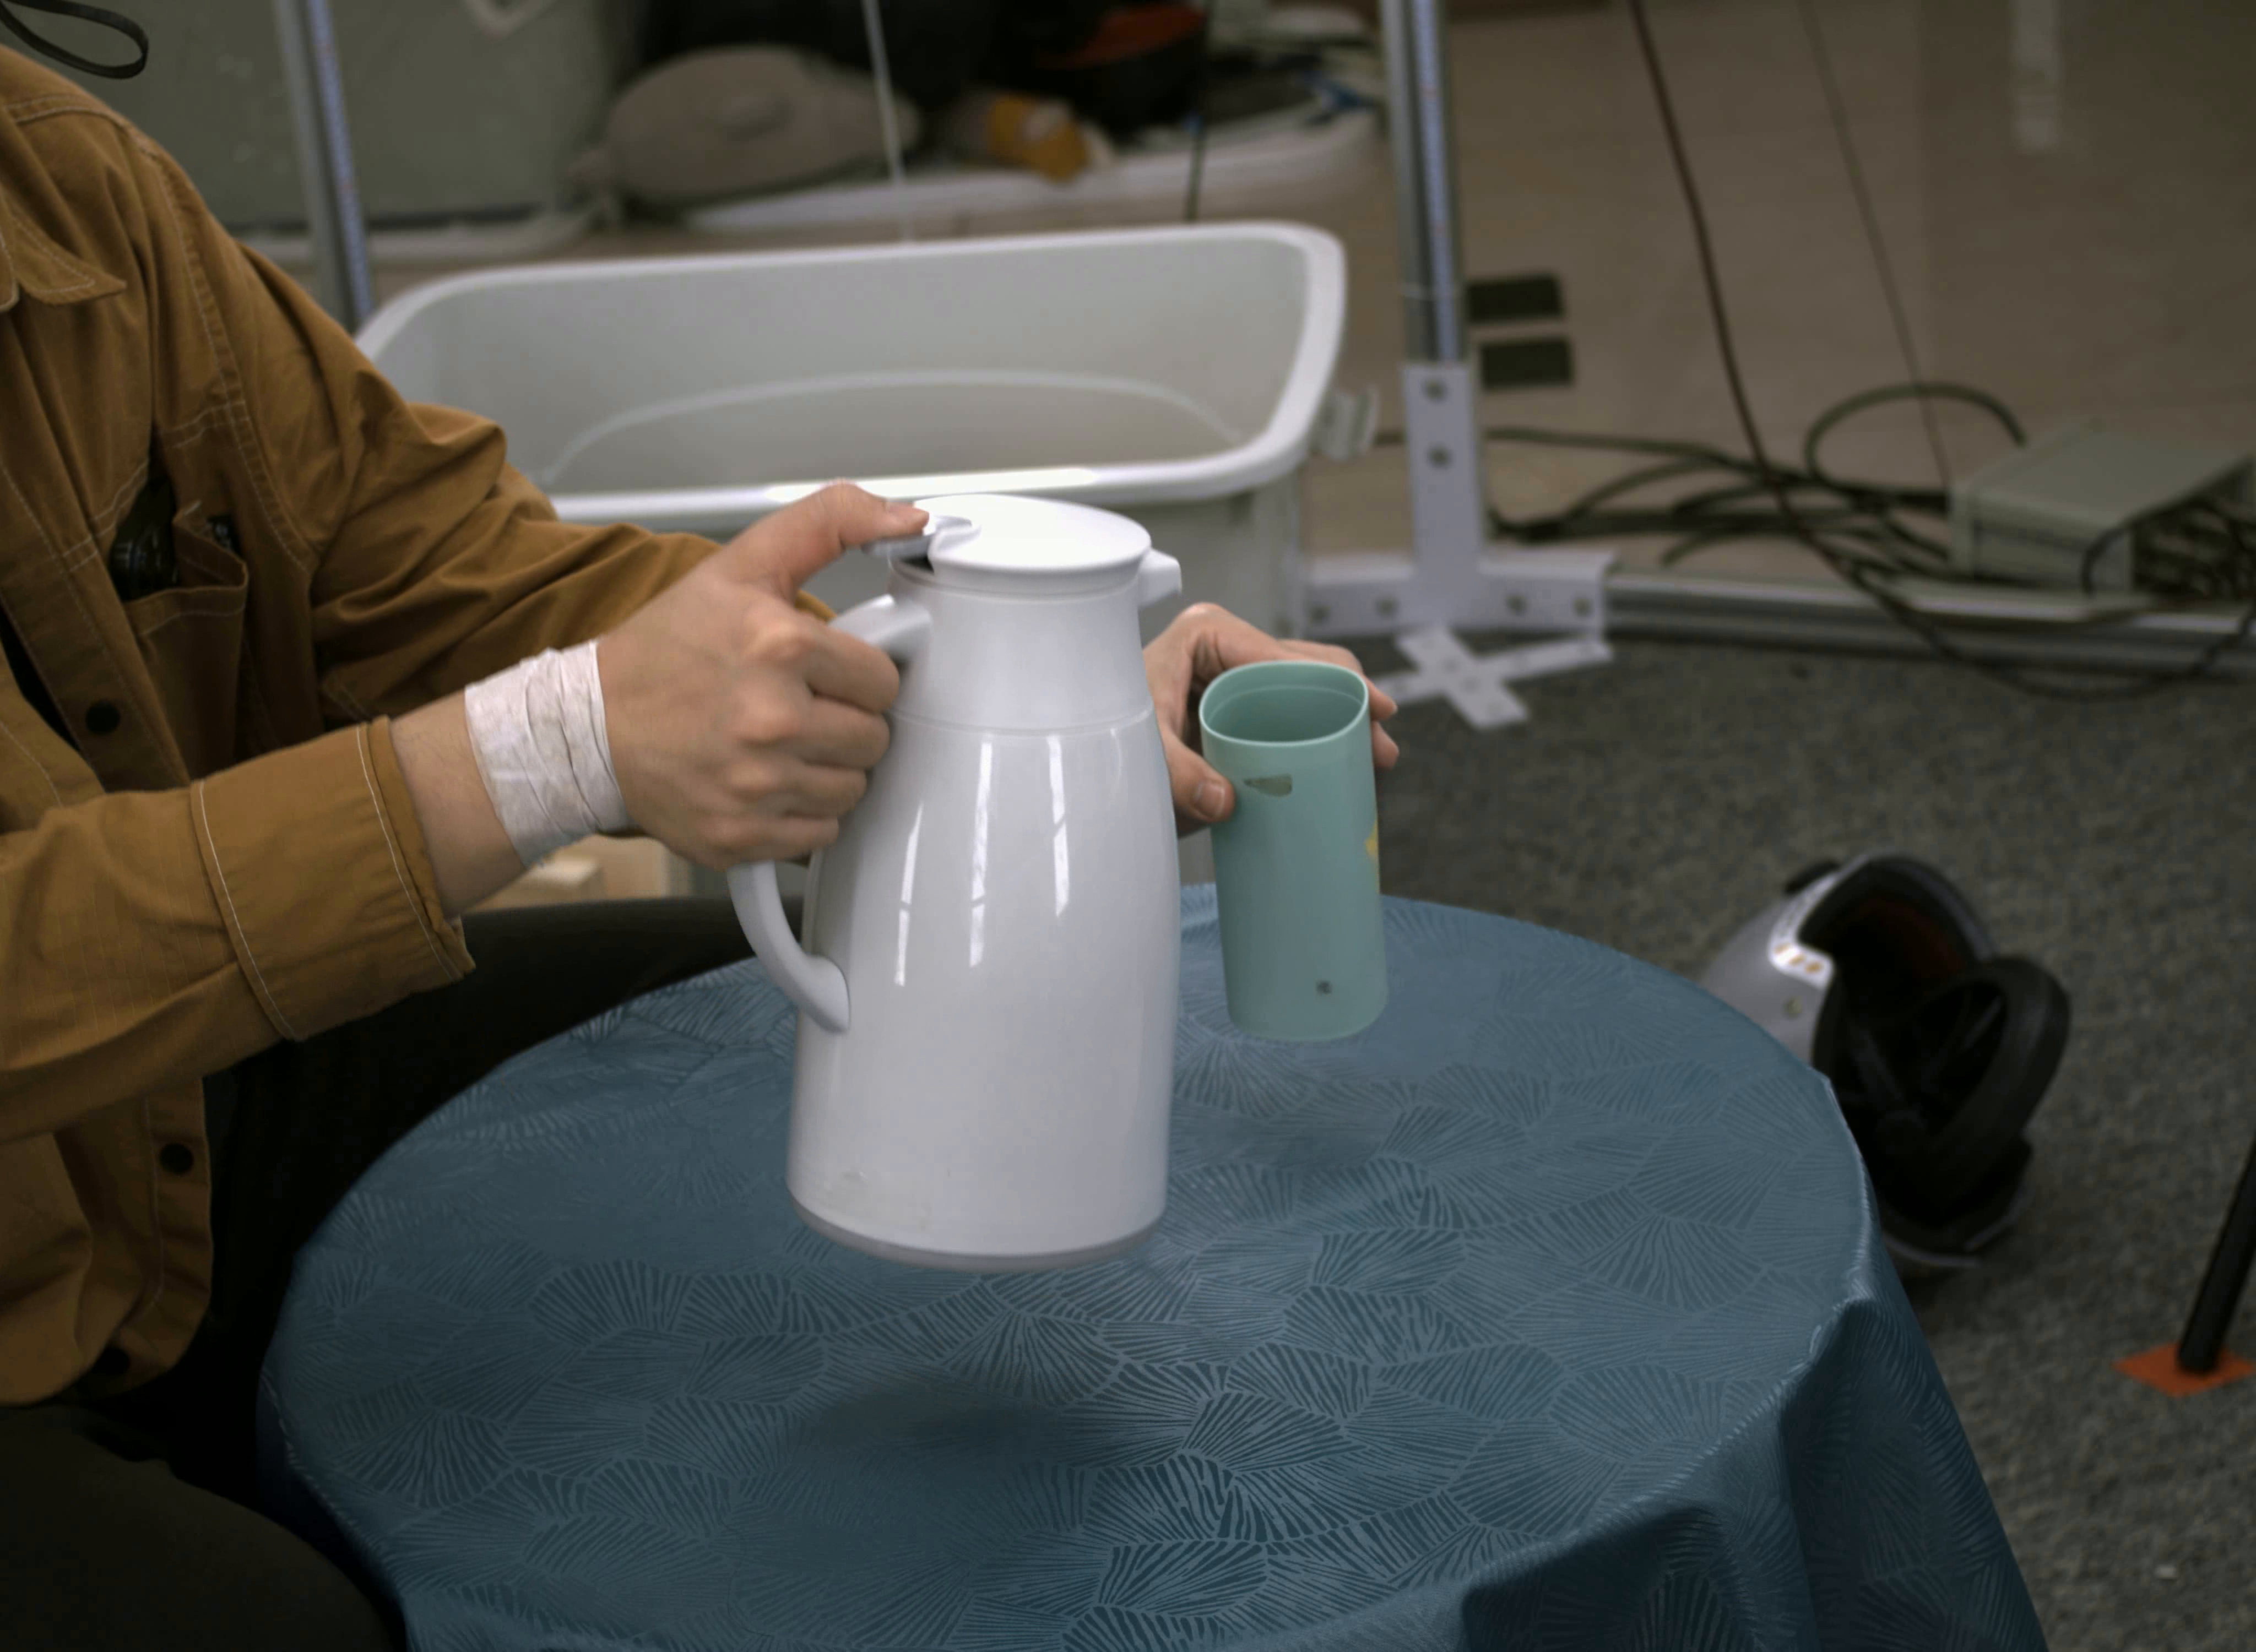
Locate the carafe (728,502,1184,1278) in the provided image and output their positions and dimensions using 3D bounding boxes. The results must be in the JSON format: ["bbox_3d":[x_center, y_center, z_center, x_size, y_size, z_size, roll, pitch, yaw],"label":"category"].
[{"bbox_3d":[-0.059,0.018,1.914,0.167,0.252,0.131,-10,23,-33],"label":"carafe"}]

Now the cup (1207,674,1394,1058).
[{"bbox_3d":[0.064,0.015,2.120,0.066,0.135,0.065,-4,31,2],"label":"cup"}]
